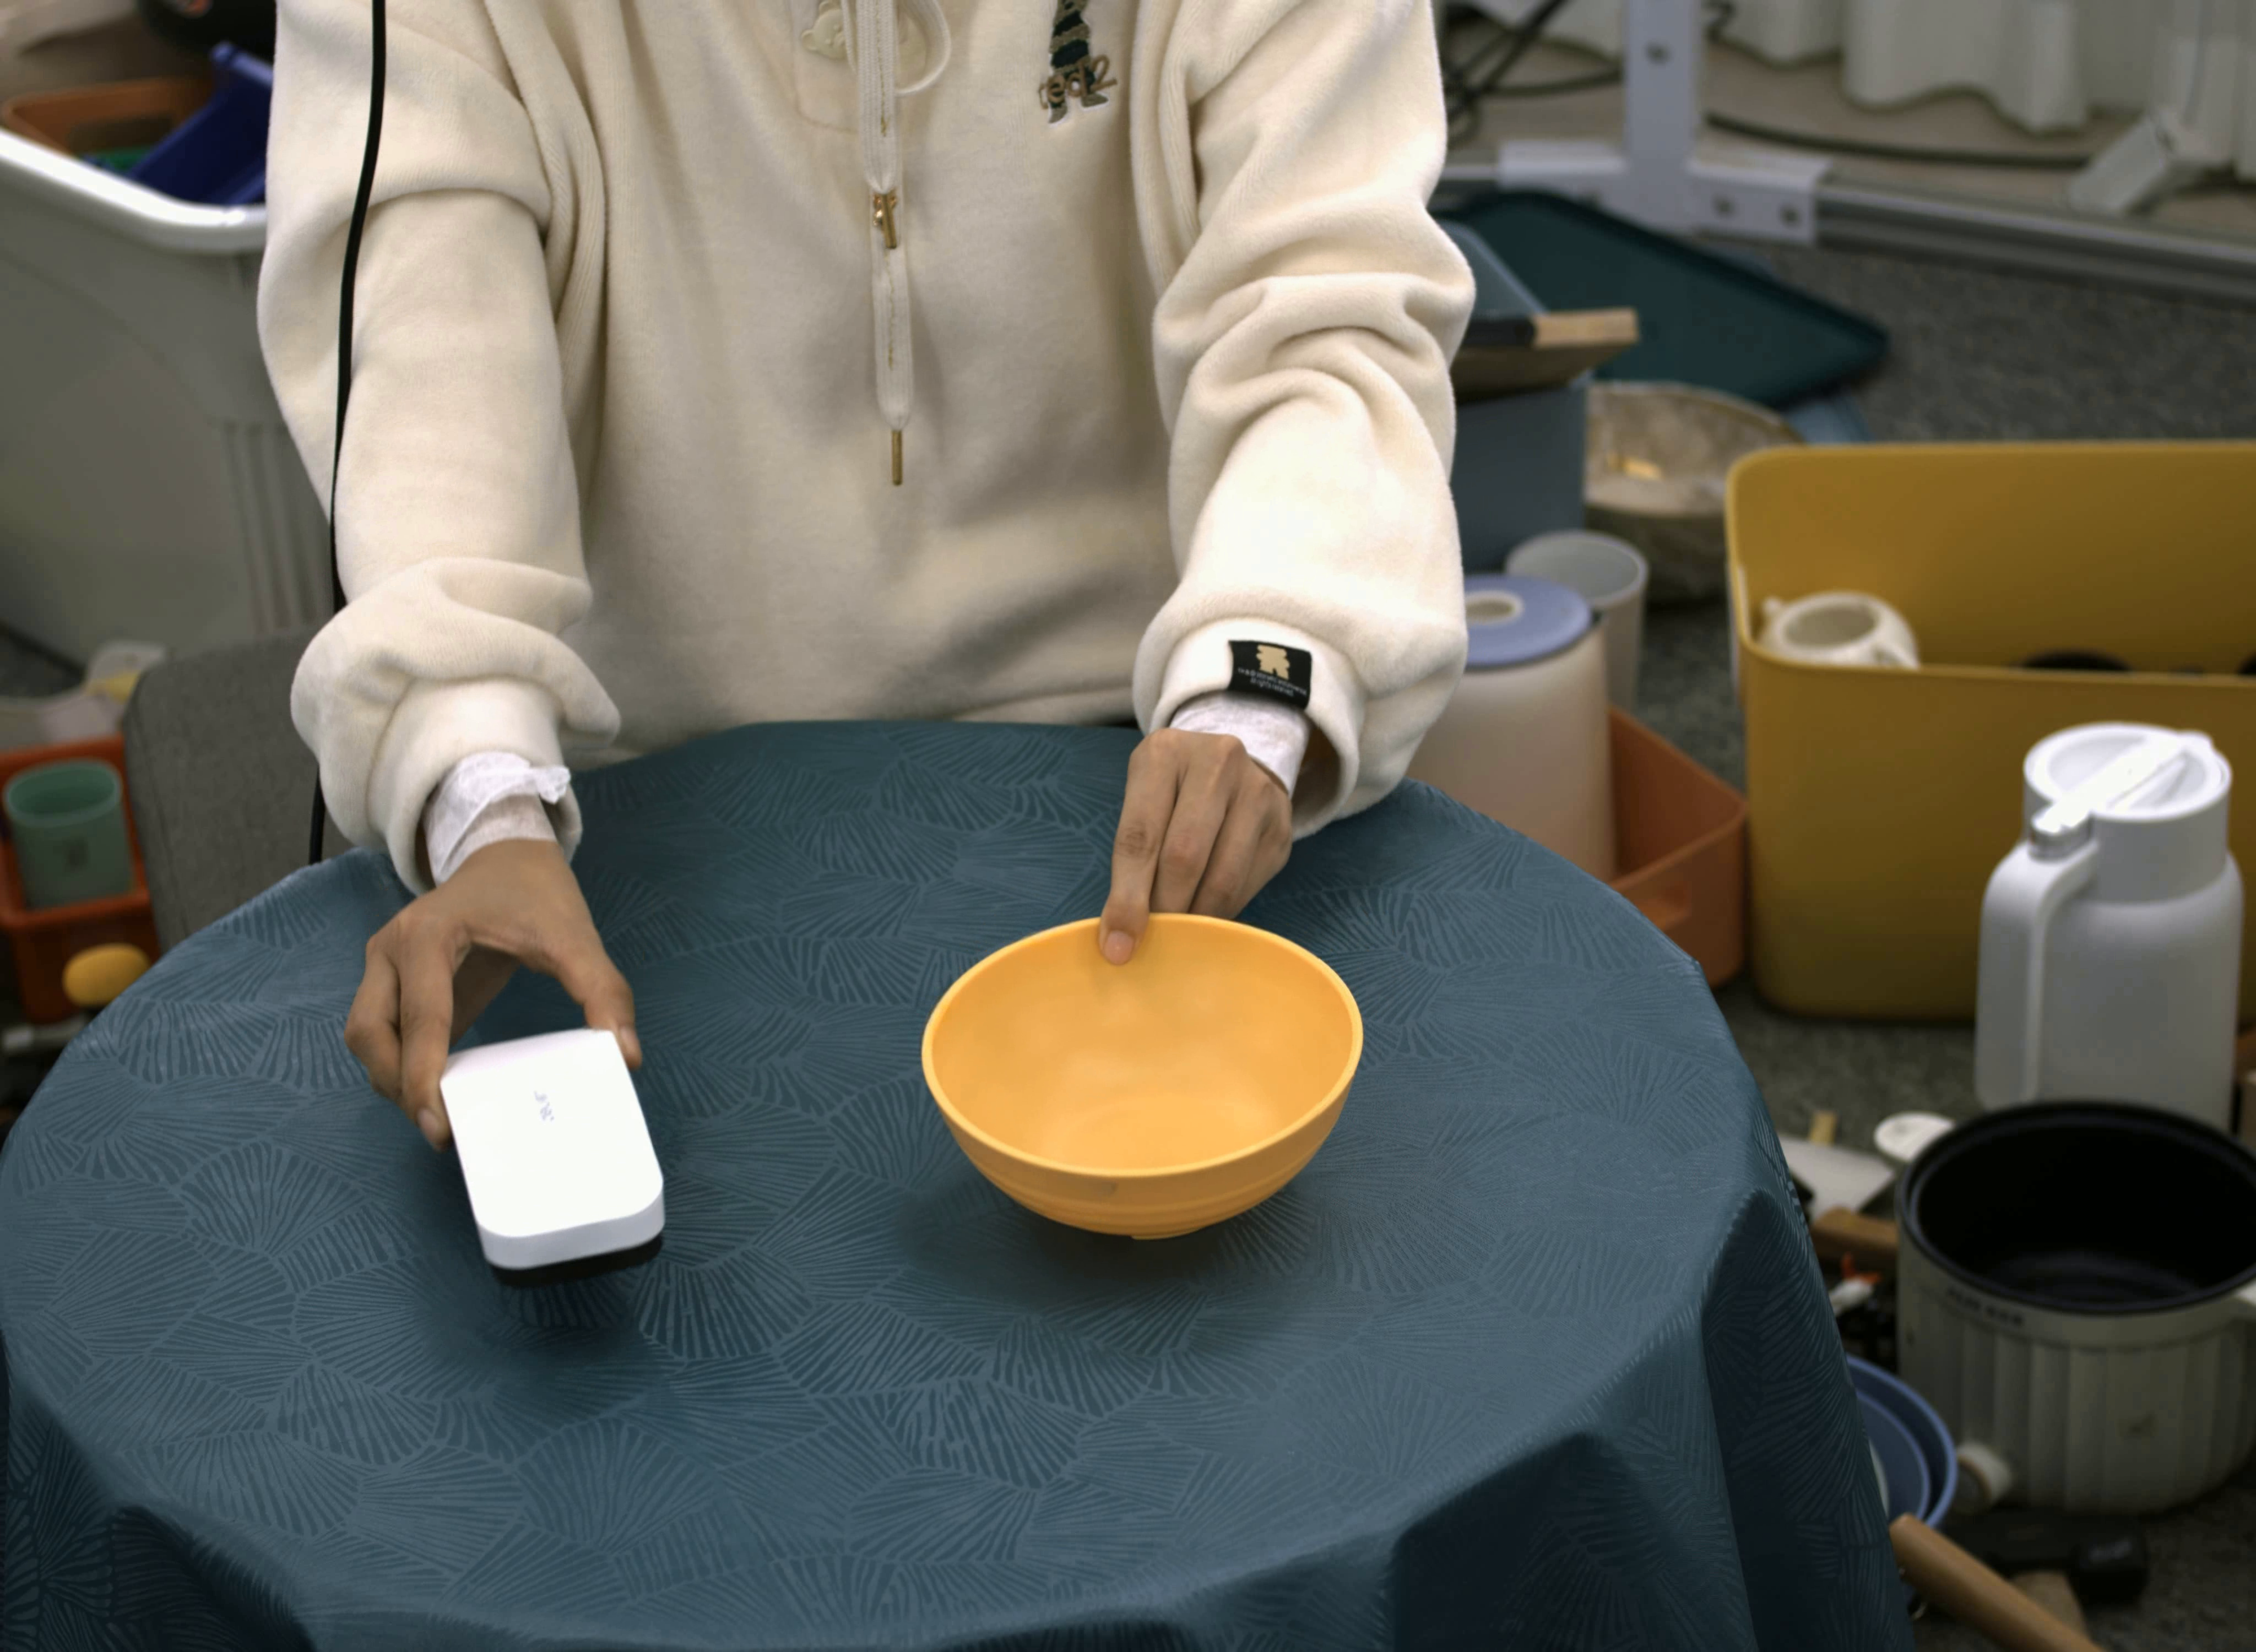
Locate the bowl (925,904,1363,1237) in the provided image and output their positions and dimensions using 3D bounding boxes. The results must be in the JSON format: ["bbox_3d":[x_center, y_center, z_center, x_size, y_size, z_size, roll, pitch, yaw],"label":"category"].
[{"bbox_3d":[0.006,0.092,1.848,0.144,0.059,0.148,-2,35,2],"label":"bowl"}]

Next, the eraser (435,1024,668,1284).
[{"bbox_3d":[-0.186,0.103,1.820,0.063,0.034,0.132,-10,27,-11],"label":"eraser"}]
